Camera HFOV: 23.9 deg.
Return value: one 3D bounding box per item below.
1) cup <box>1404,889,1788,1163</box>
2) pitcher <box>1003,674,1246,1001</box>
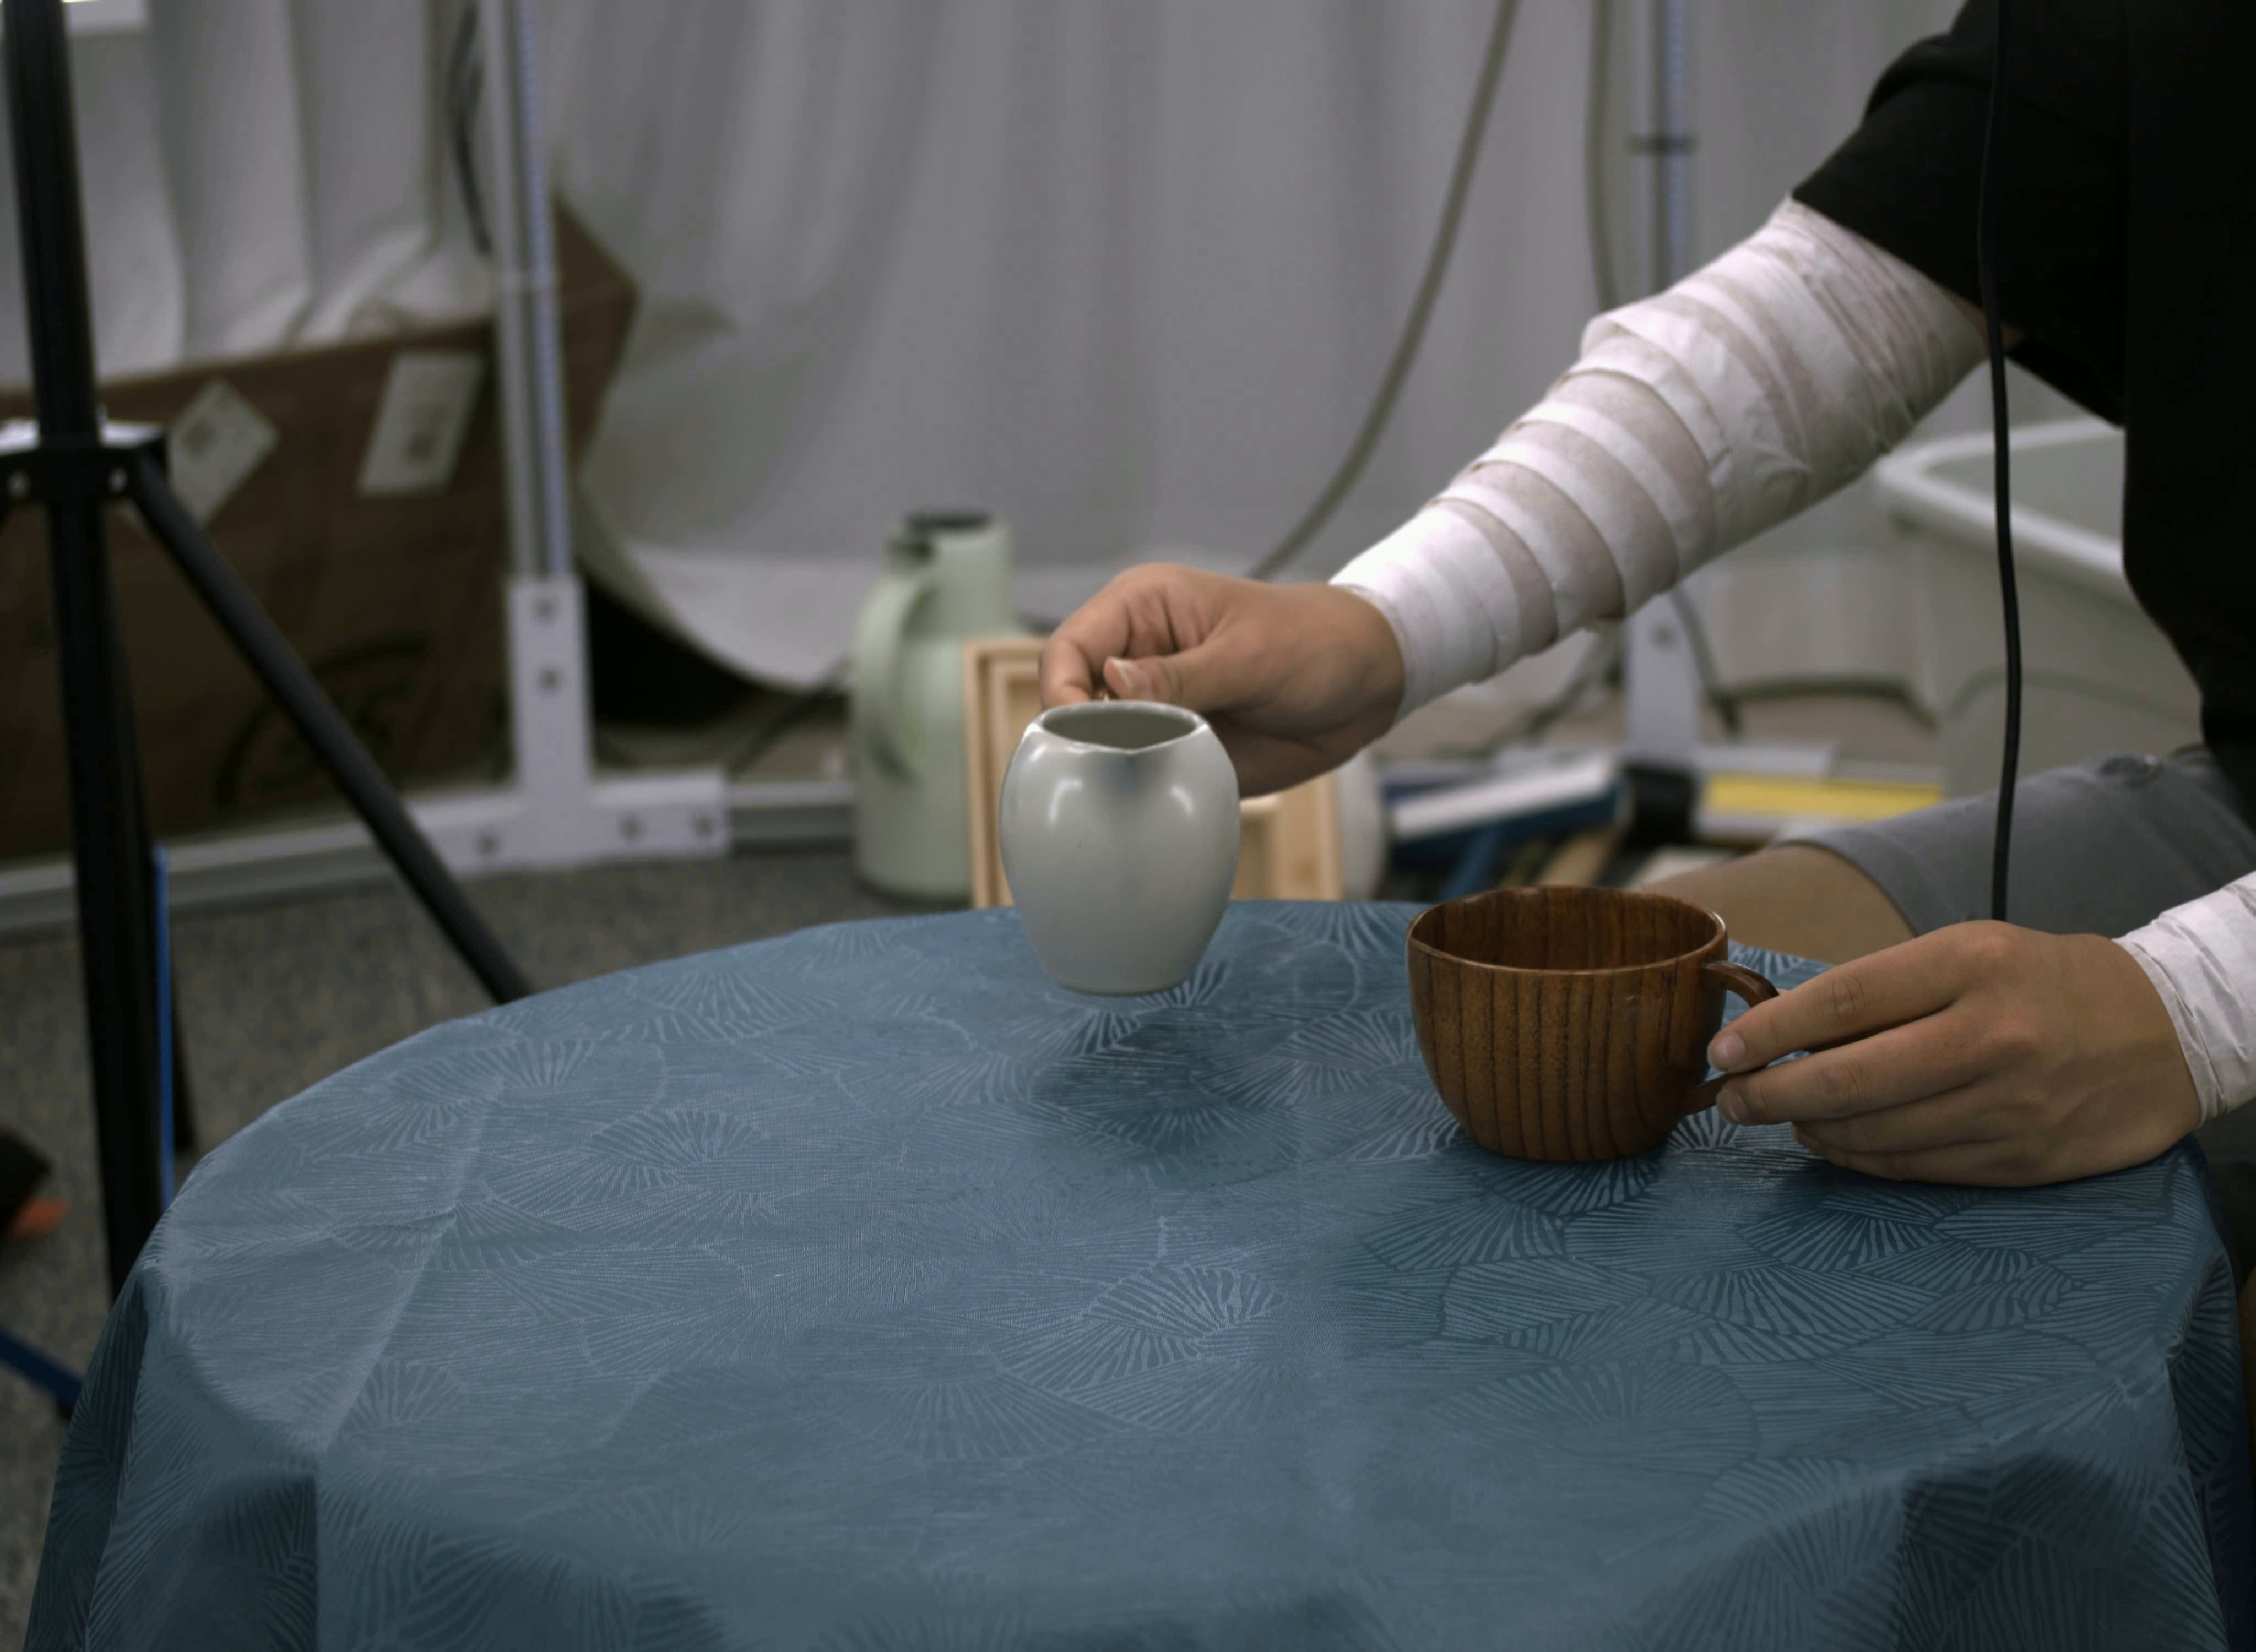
[{"bbox_3d":[0.140,0.063,1.579,0.122,0.068,0.094,10,16,32],"label":"cup"},{"bbox_3d":[-0.001,0.003,1.664,0.075,0.088,0.119,5,21,0],"label":"pitcher"}]
